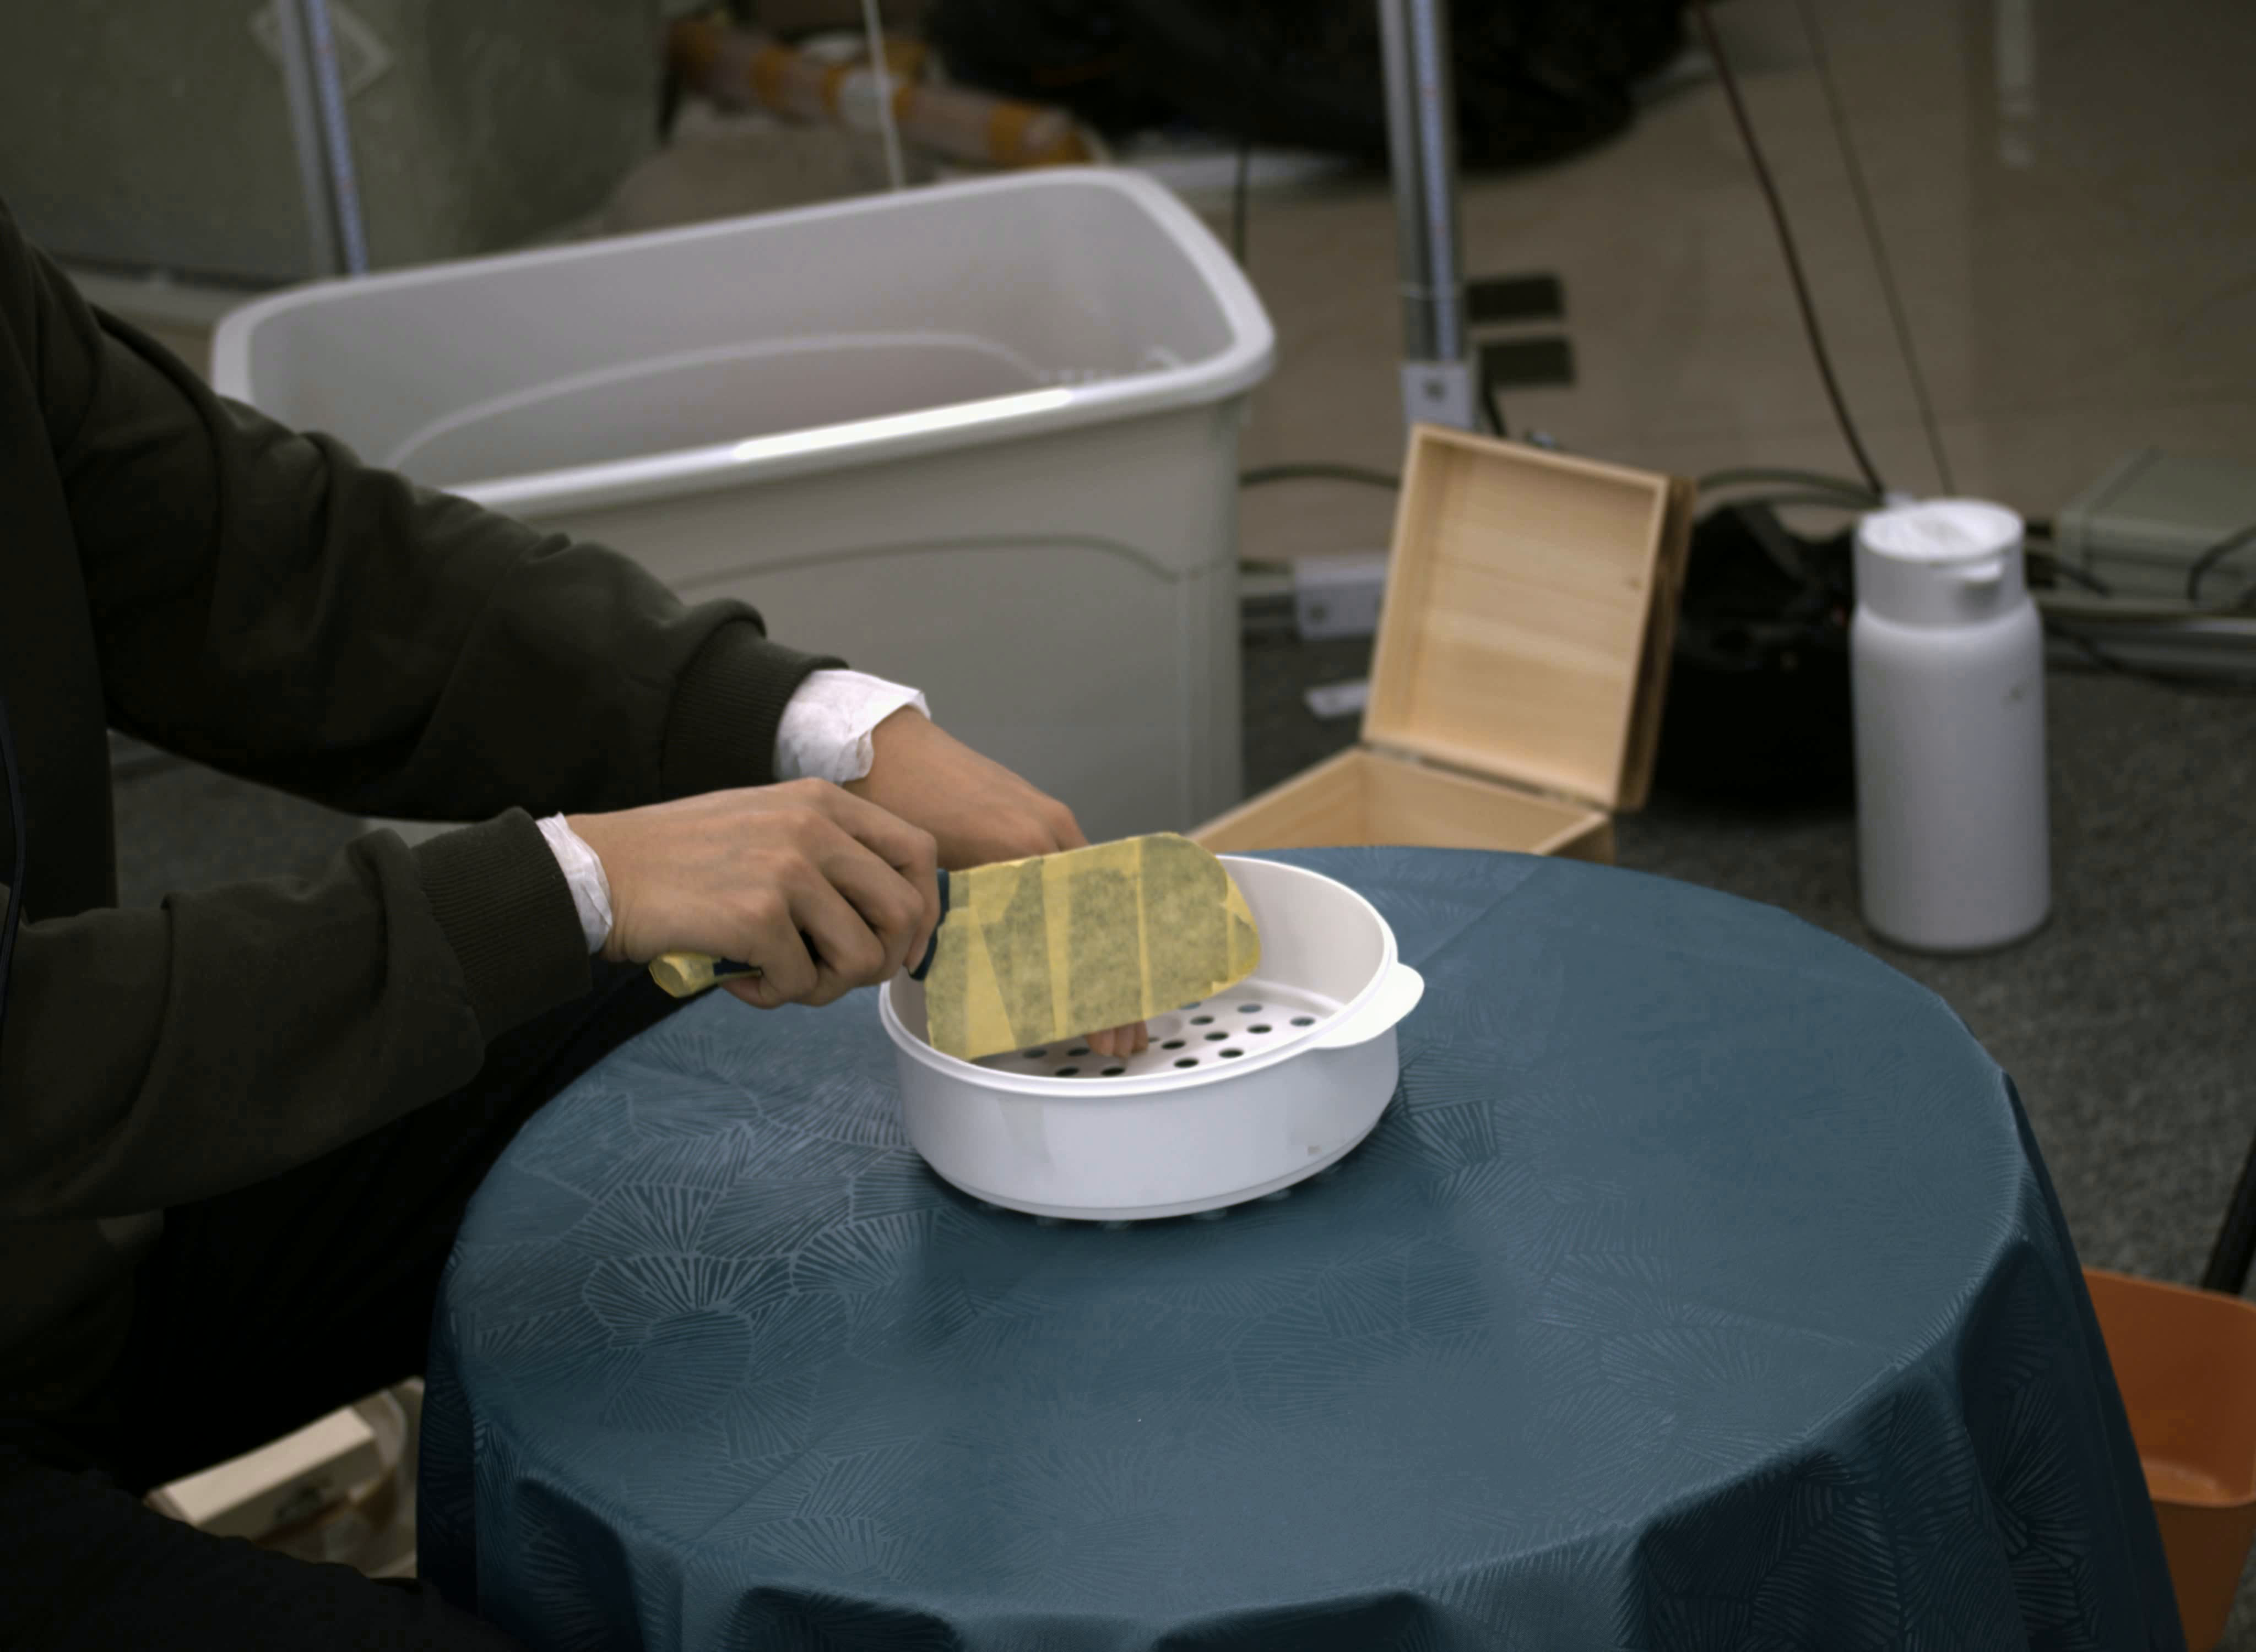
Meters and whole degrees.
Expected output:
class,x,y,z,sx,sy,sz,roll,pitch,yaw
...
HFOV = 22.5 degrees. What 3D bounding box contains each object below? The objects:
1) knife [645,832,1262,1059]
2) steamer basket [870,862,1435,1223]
class,x,y,z,sx,sy,sz,roll,pitch,yaw
knife,-0.059,0.051,2.152,0.289,0.081,0.027,-7,8,-38
steamer basket,0.011,0.084,2.188,0.229,0.070,0.199,6,27,29
